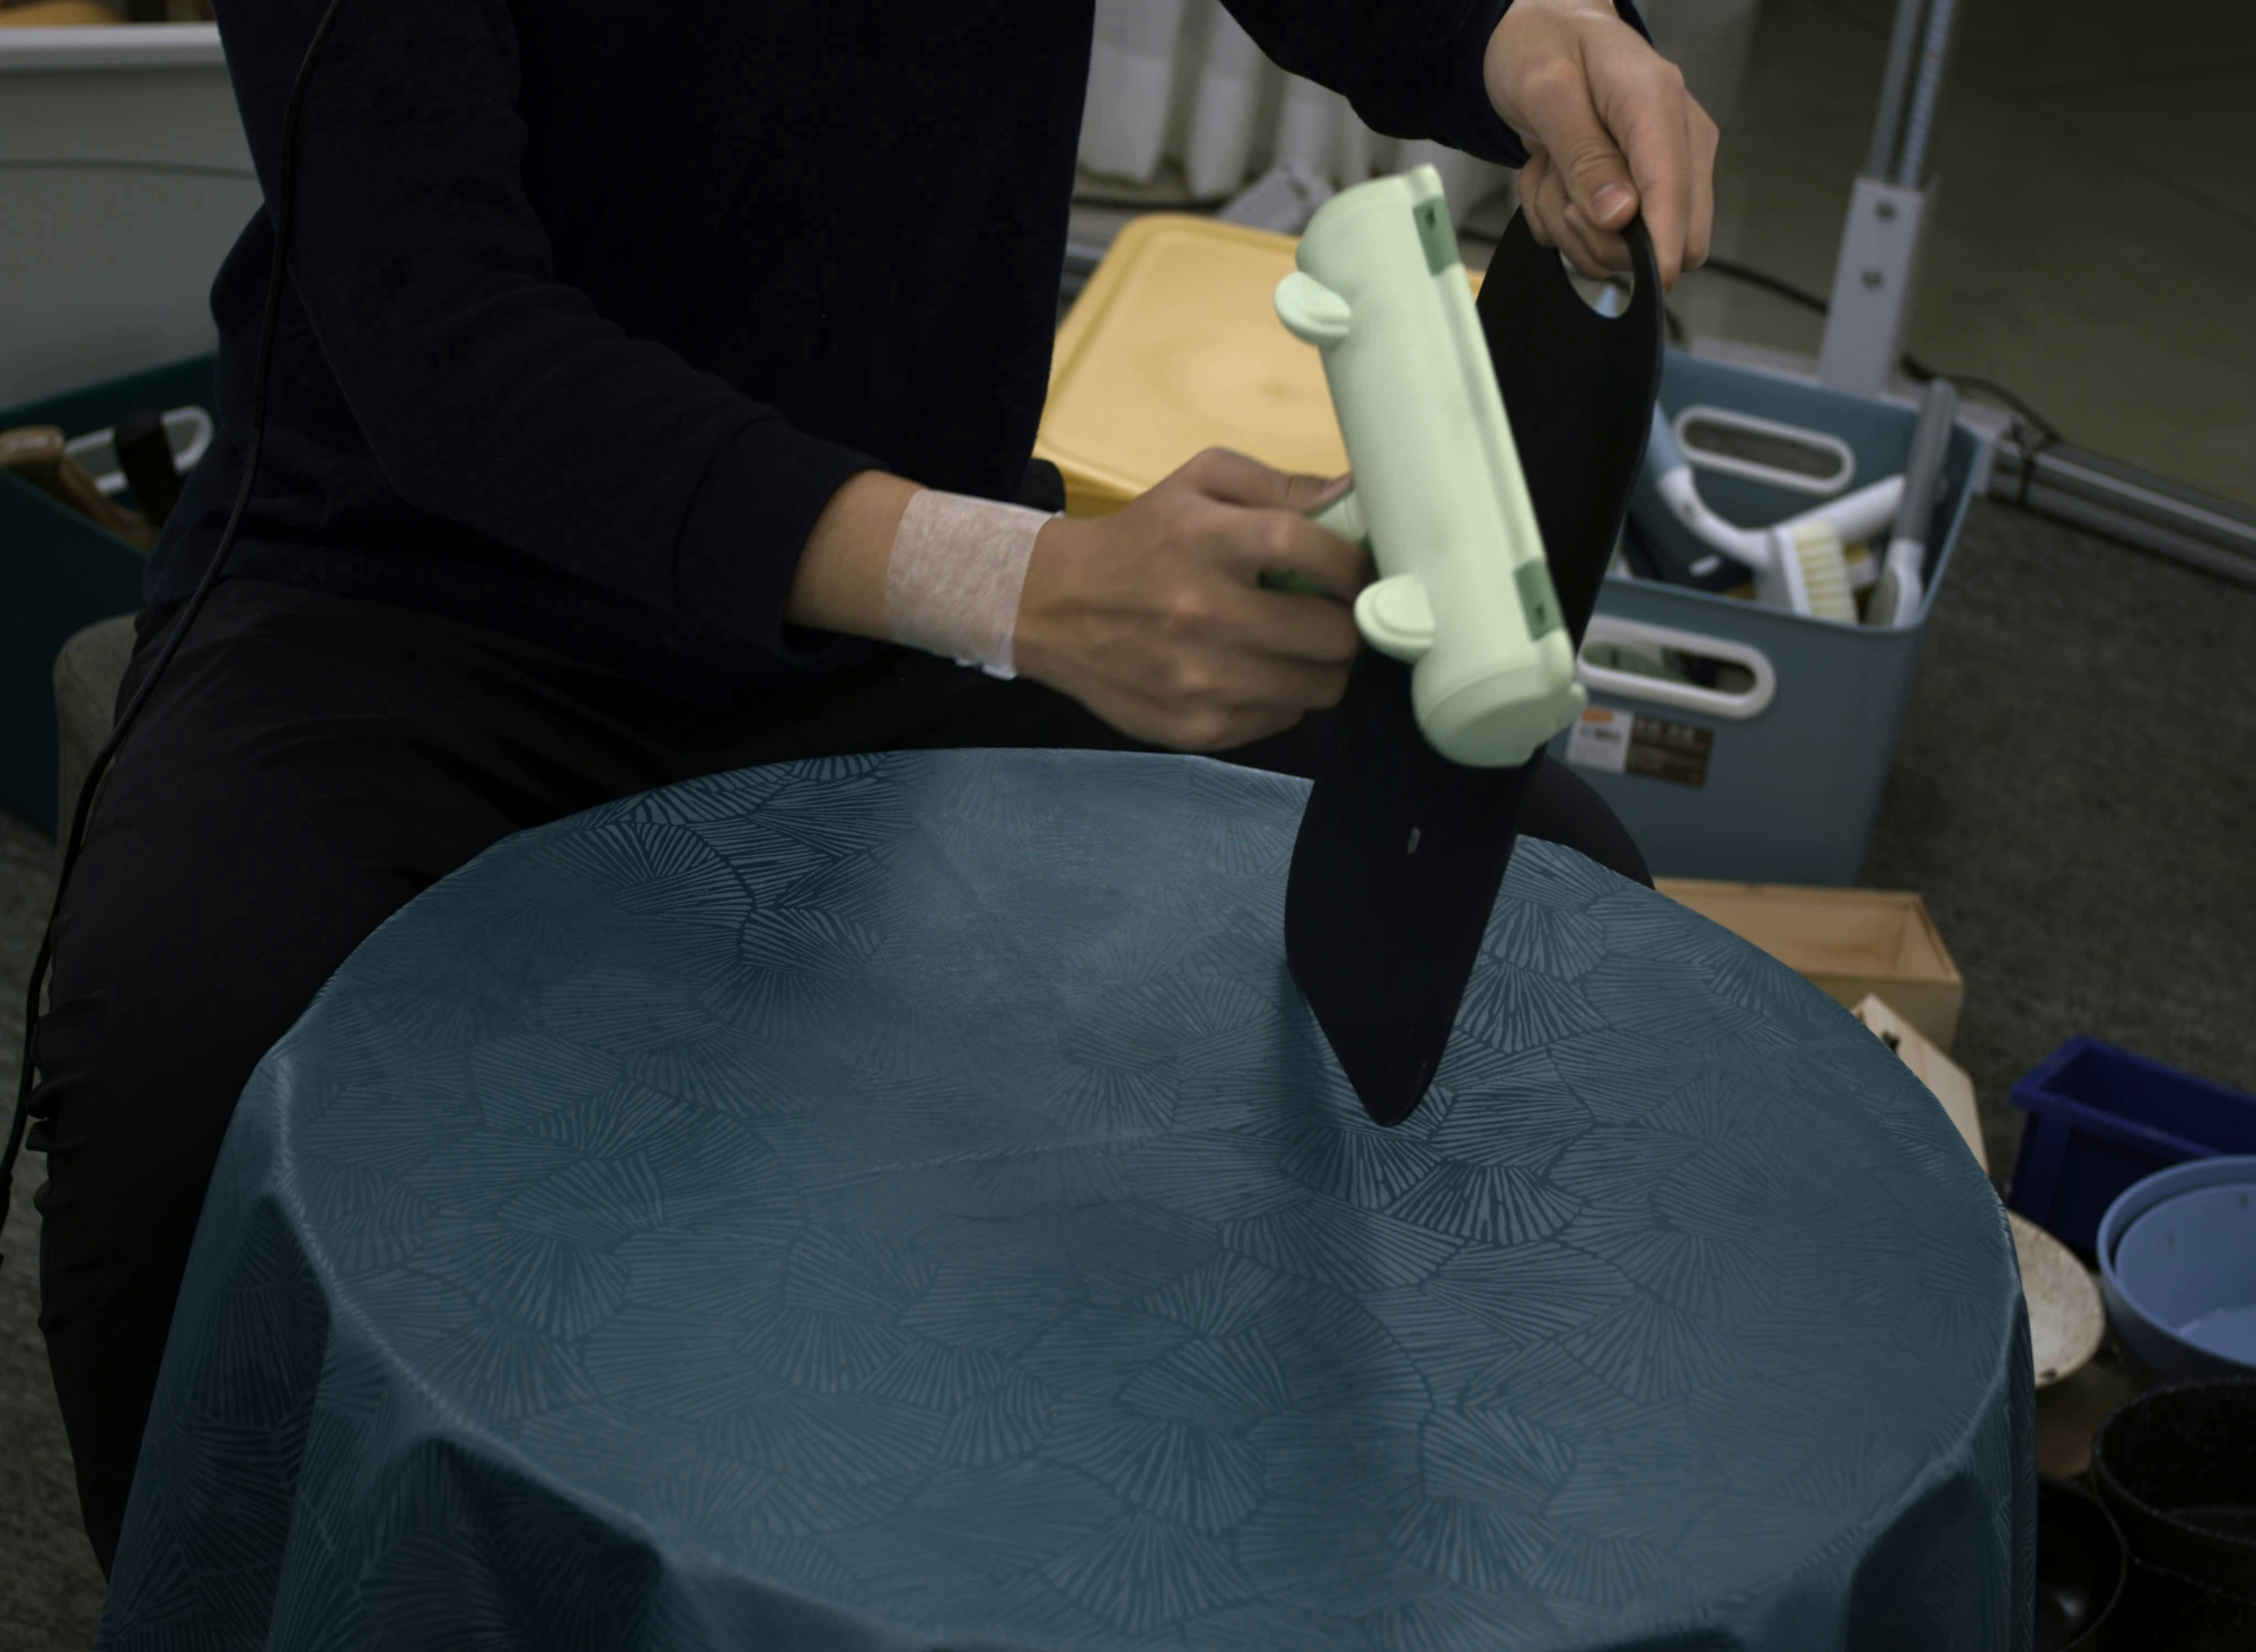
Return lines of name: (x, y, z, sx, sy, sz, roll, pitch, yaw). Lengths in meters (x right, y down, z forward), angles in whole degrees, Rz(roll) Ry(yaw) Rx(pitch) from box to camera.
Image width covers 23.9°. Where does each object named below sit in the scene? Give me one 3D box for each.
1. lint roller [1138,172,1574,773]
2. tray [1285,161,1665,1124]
lint roller: (0.052, -0.091, 1.741, 0.081, 0.183, 0.200, 17, 51, -46)
tray: (0.120, -0.069, 1.843, 0.010, 0.325, 0.212, 12, 18, -16)
